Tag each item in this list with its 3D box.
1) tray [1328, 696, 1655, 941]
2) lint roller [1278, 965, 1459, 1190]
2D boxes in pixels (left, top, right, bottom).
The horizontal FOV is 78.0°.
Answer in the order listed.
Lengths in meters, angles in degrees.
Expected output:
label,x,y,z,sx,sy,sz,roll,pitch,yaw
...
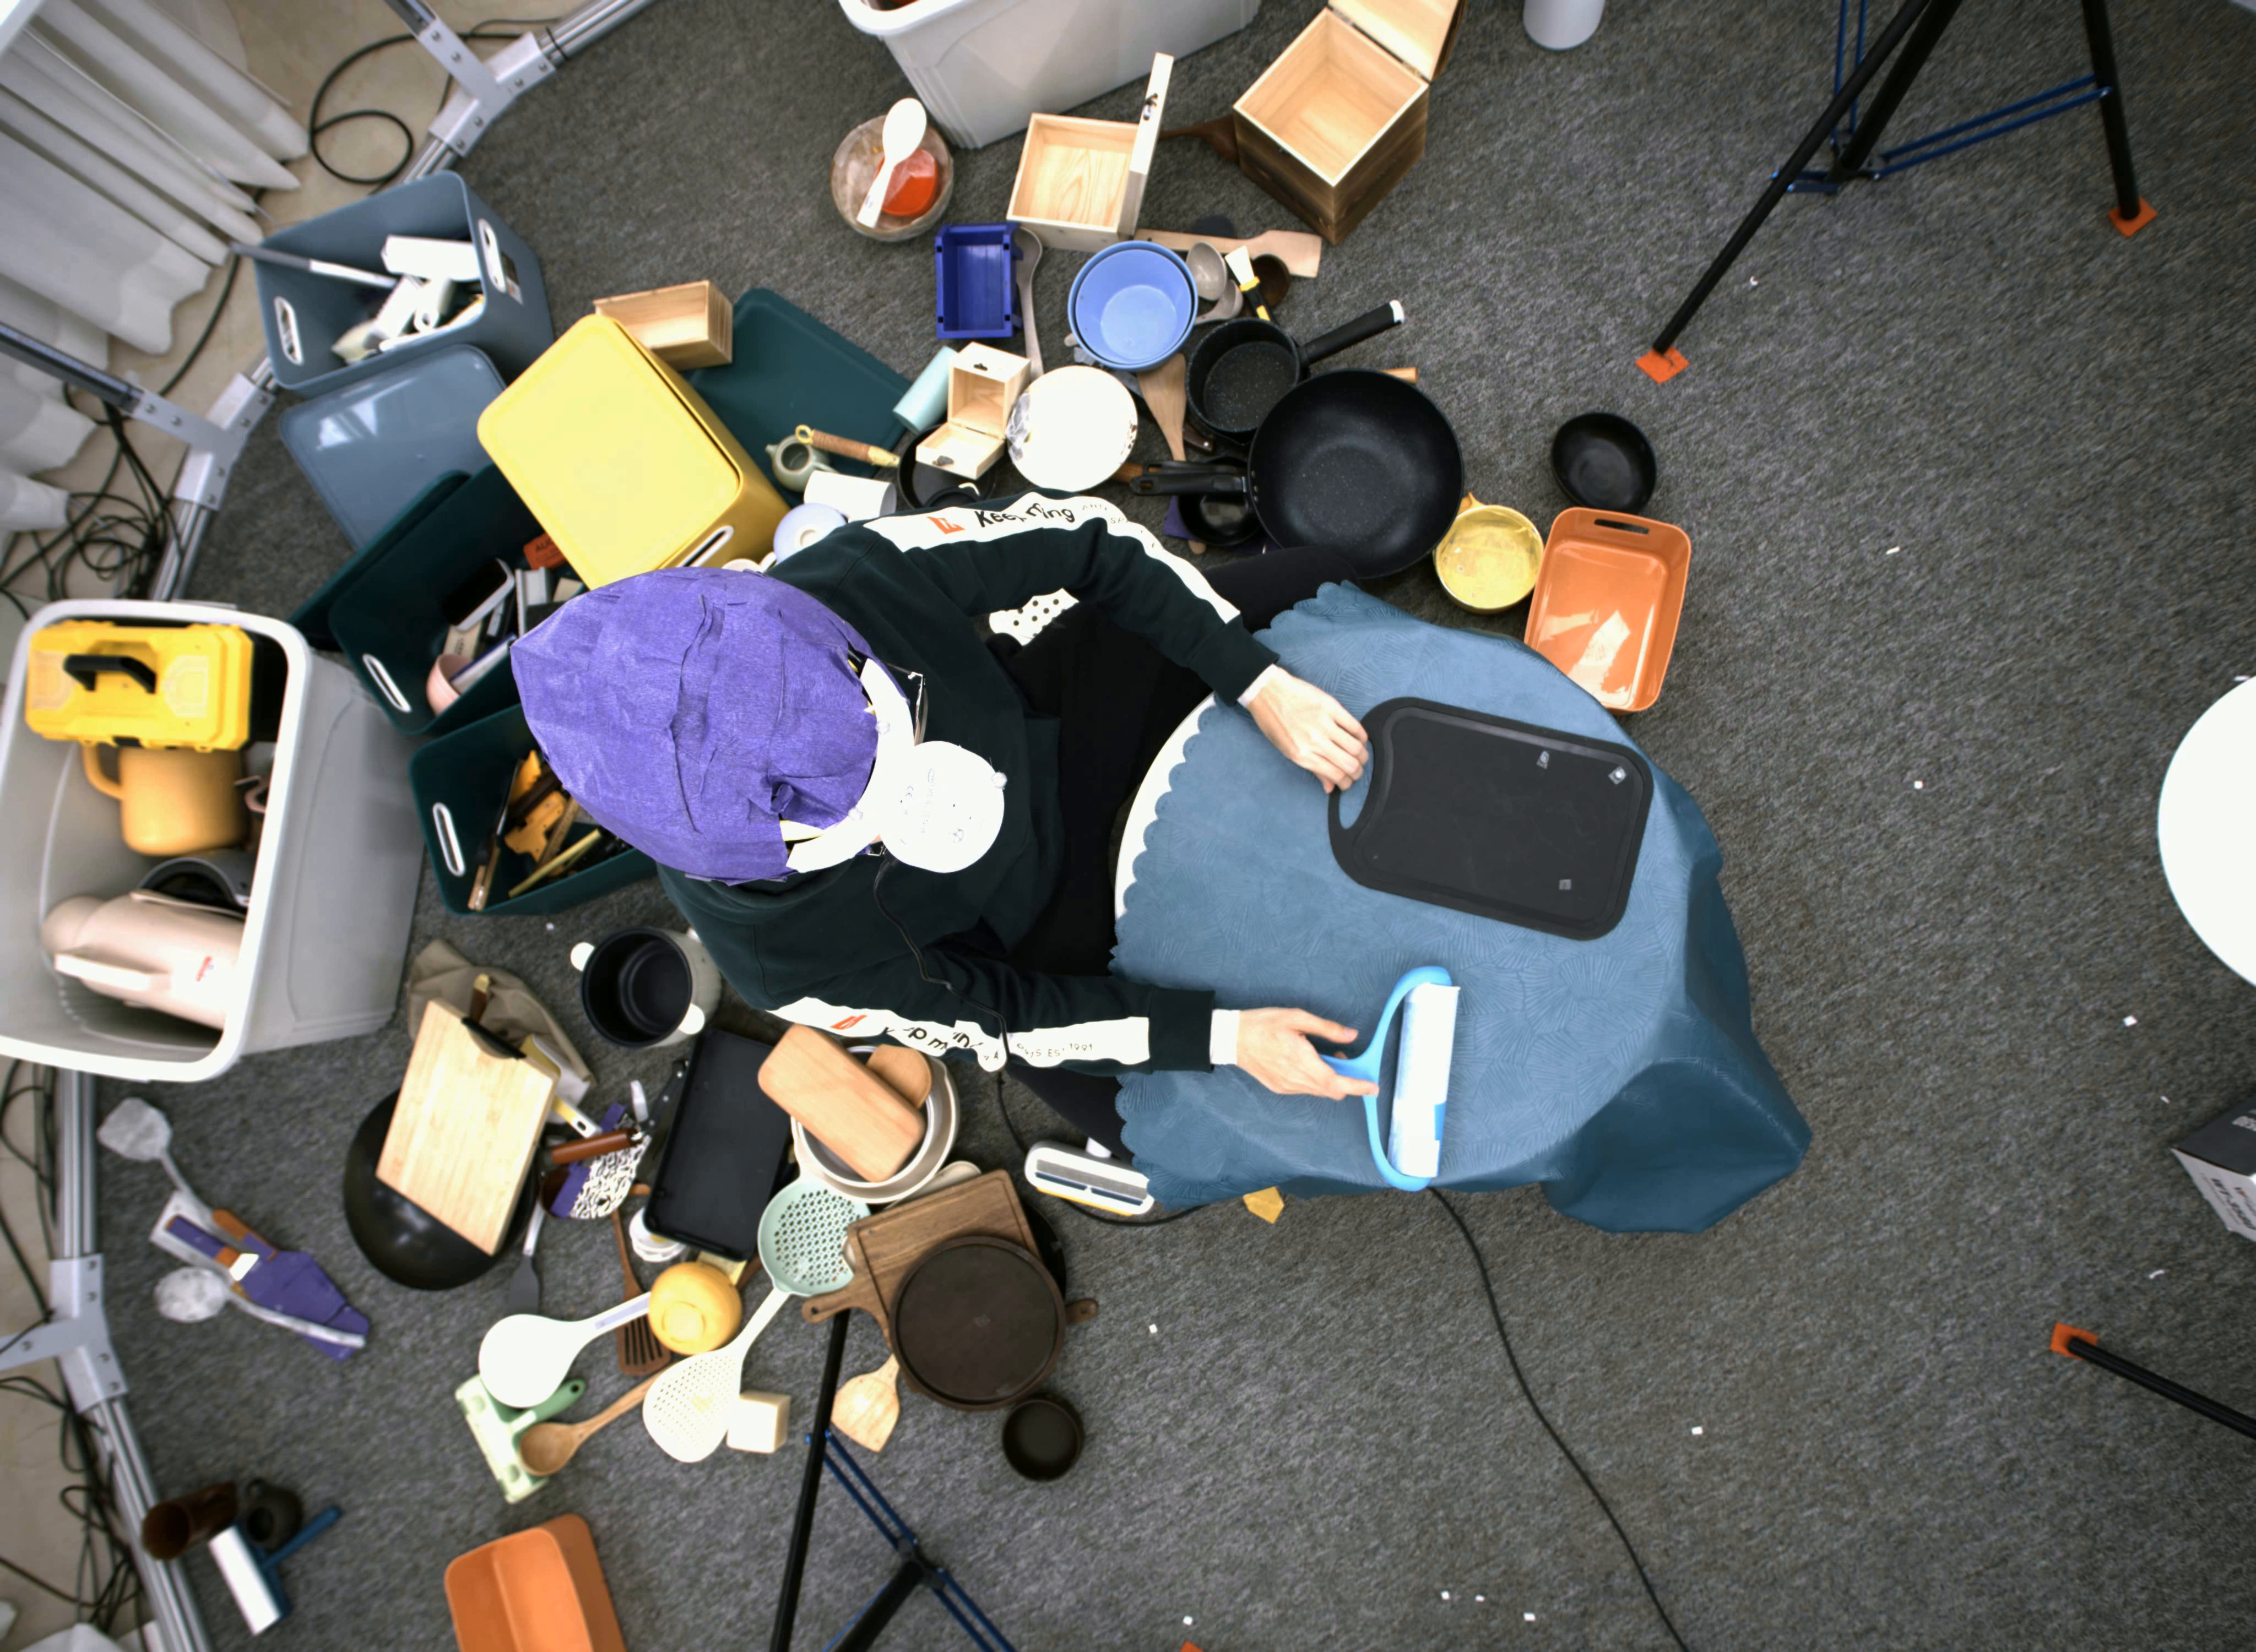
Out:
label,x,y,z,sx,sy,sz,roll,pitch,yaw
tray,0.372,-0.014,1.438,0.326,0.010,0.211,15,90,11
lint roller,0.243,0.252,1.422,0.181,0.068,0.228,3,89,9
